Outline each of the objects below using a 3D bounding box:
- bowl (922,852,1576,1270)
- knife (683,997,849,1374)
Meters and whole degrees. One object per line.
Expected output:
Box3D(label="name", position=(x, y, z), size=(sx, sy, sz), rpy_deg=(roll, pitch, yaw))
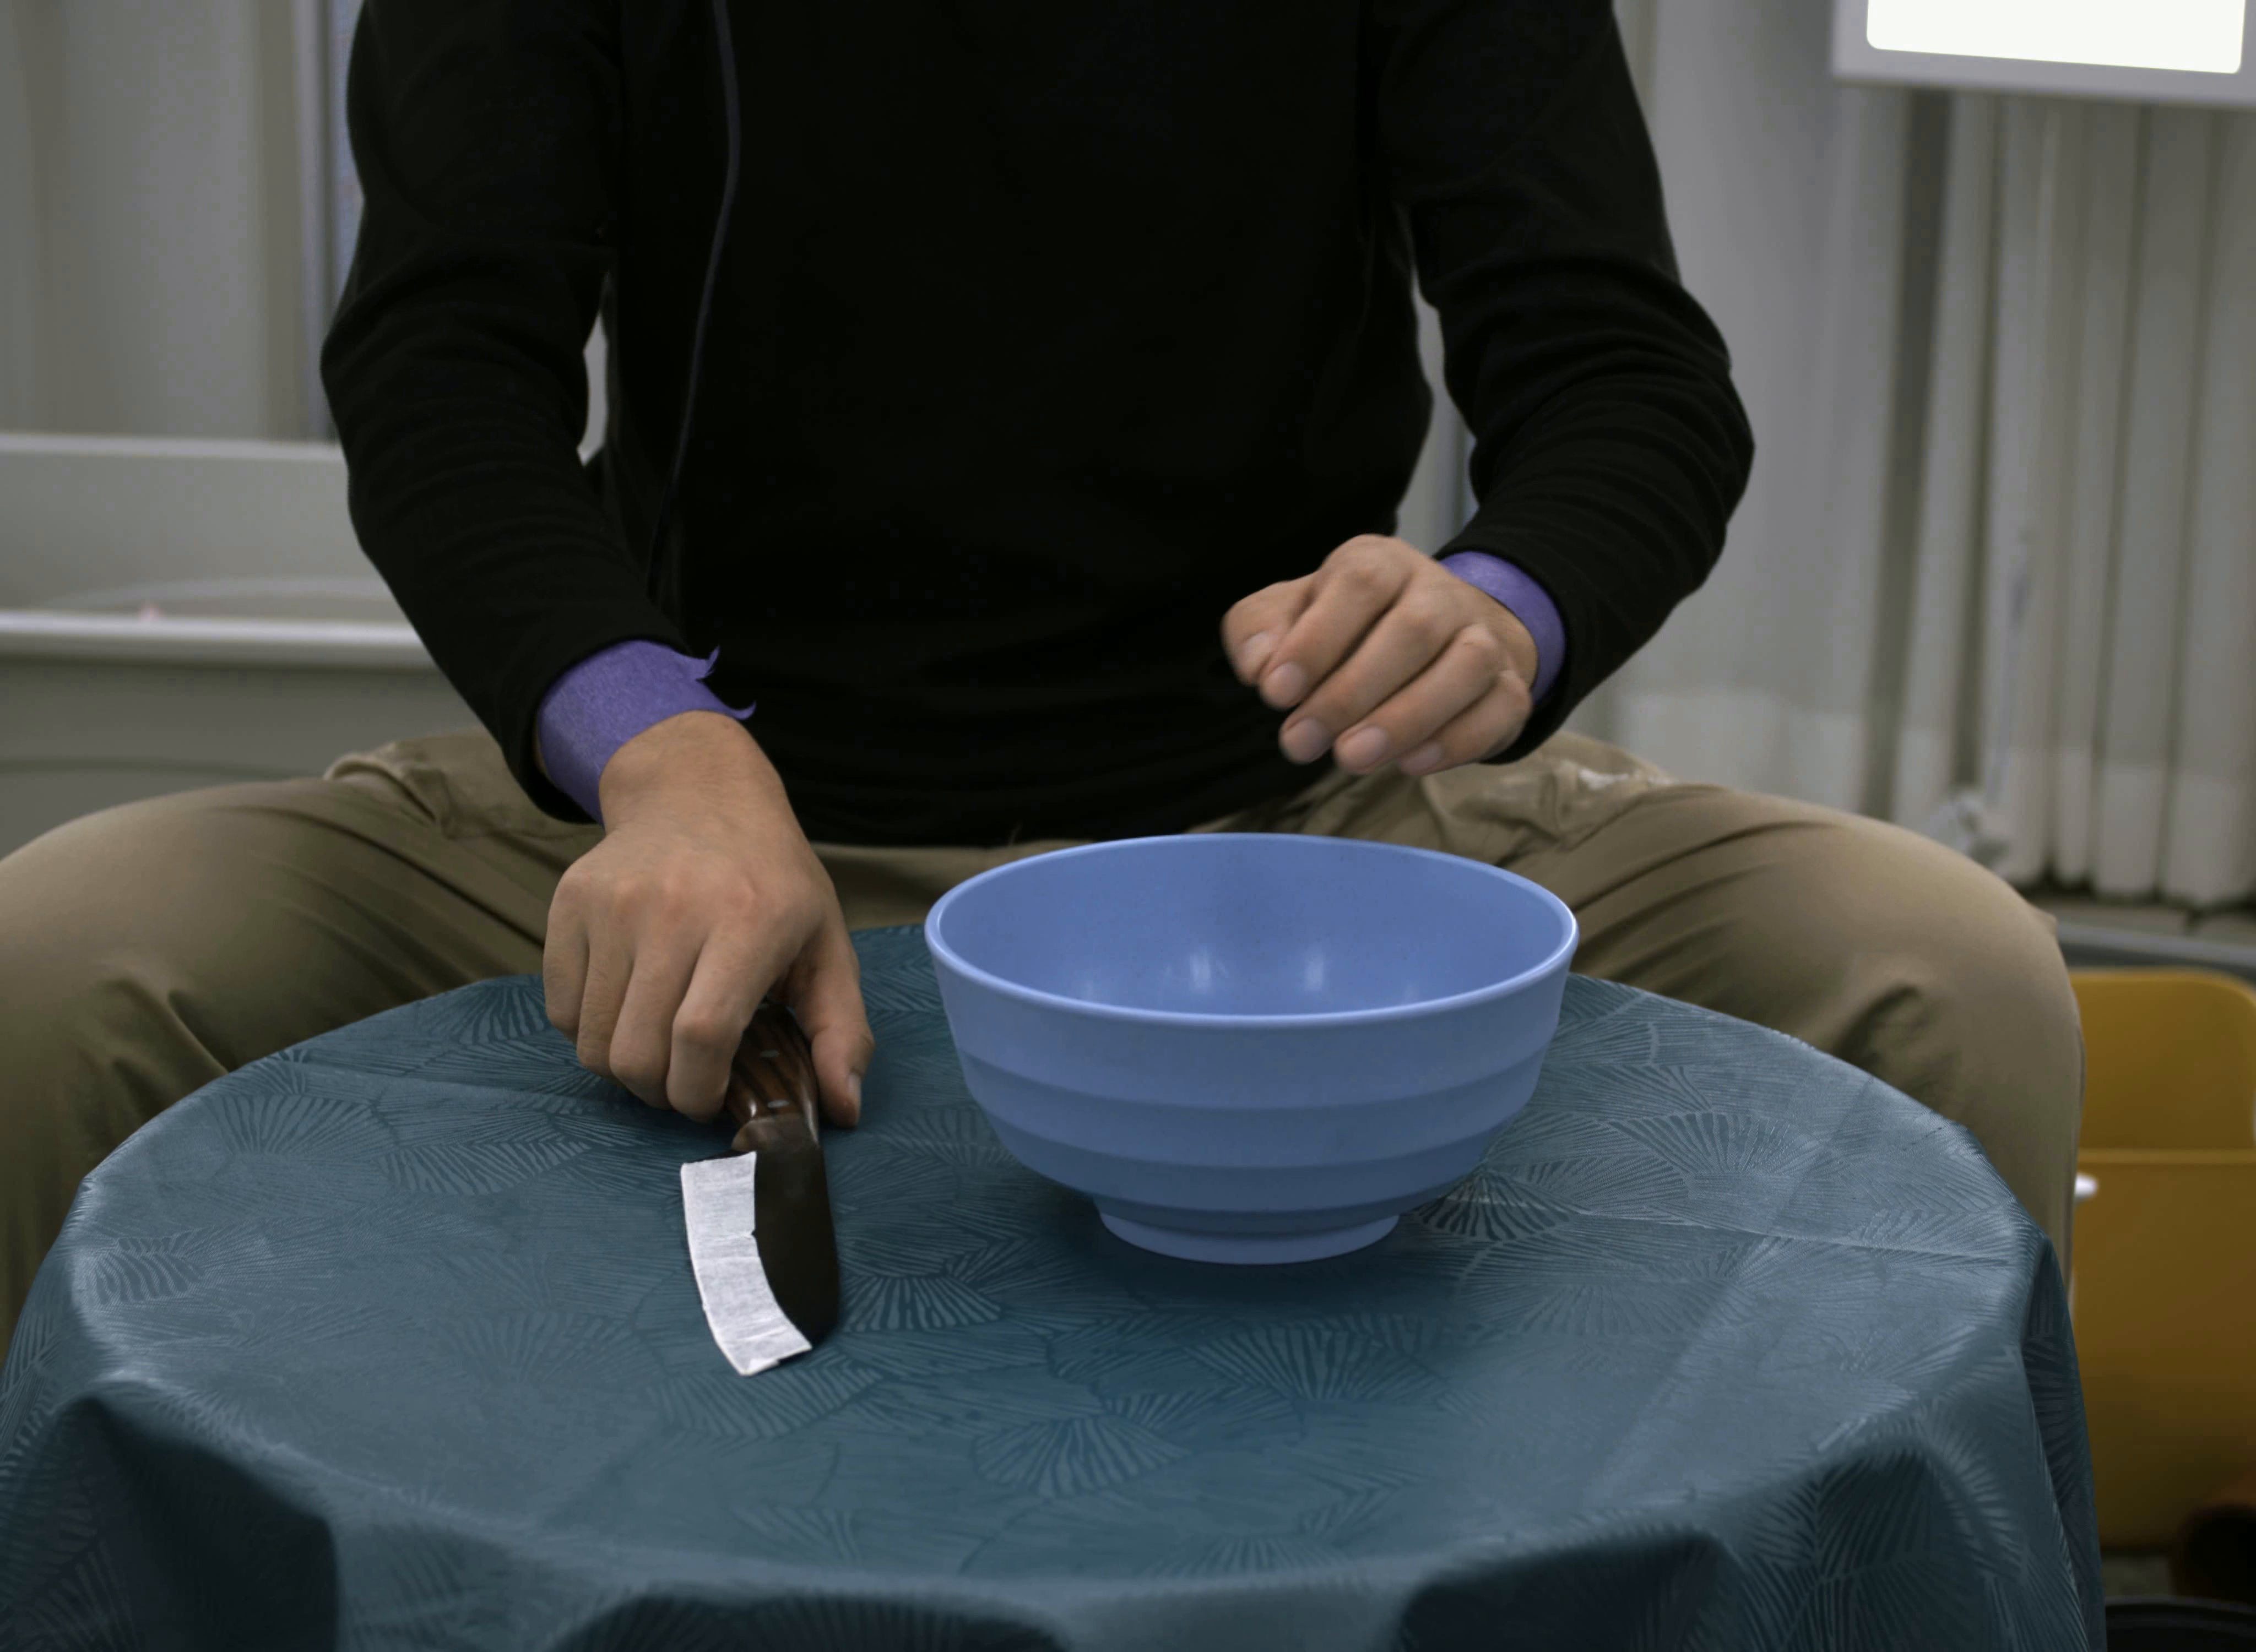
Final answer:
Box3D(label="bowl", position=(0.037, 0.075, 1.590), size=(0.196, 0.096, 0.195), rpy_deg=(0, 14, 1))
Box3D(label="knife", position=(-0.111, 0.109, 1.605), size=(0.050, 0.020, 0.287), rpy_deg=(-7, 18, -1))
